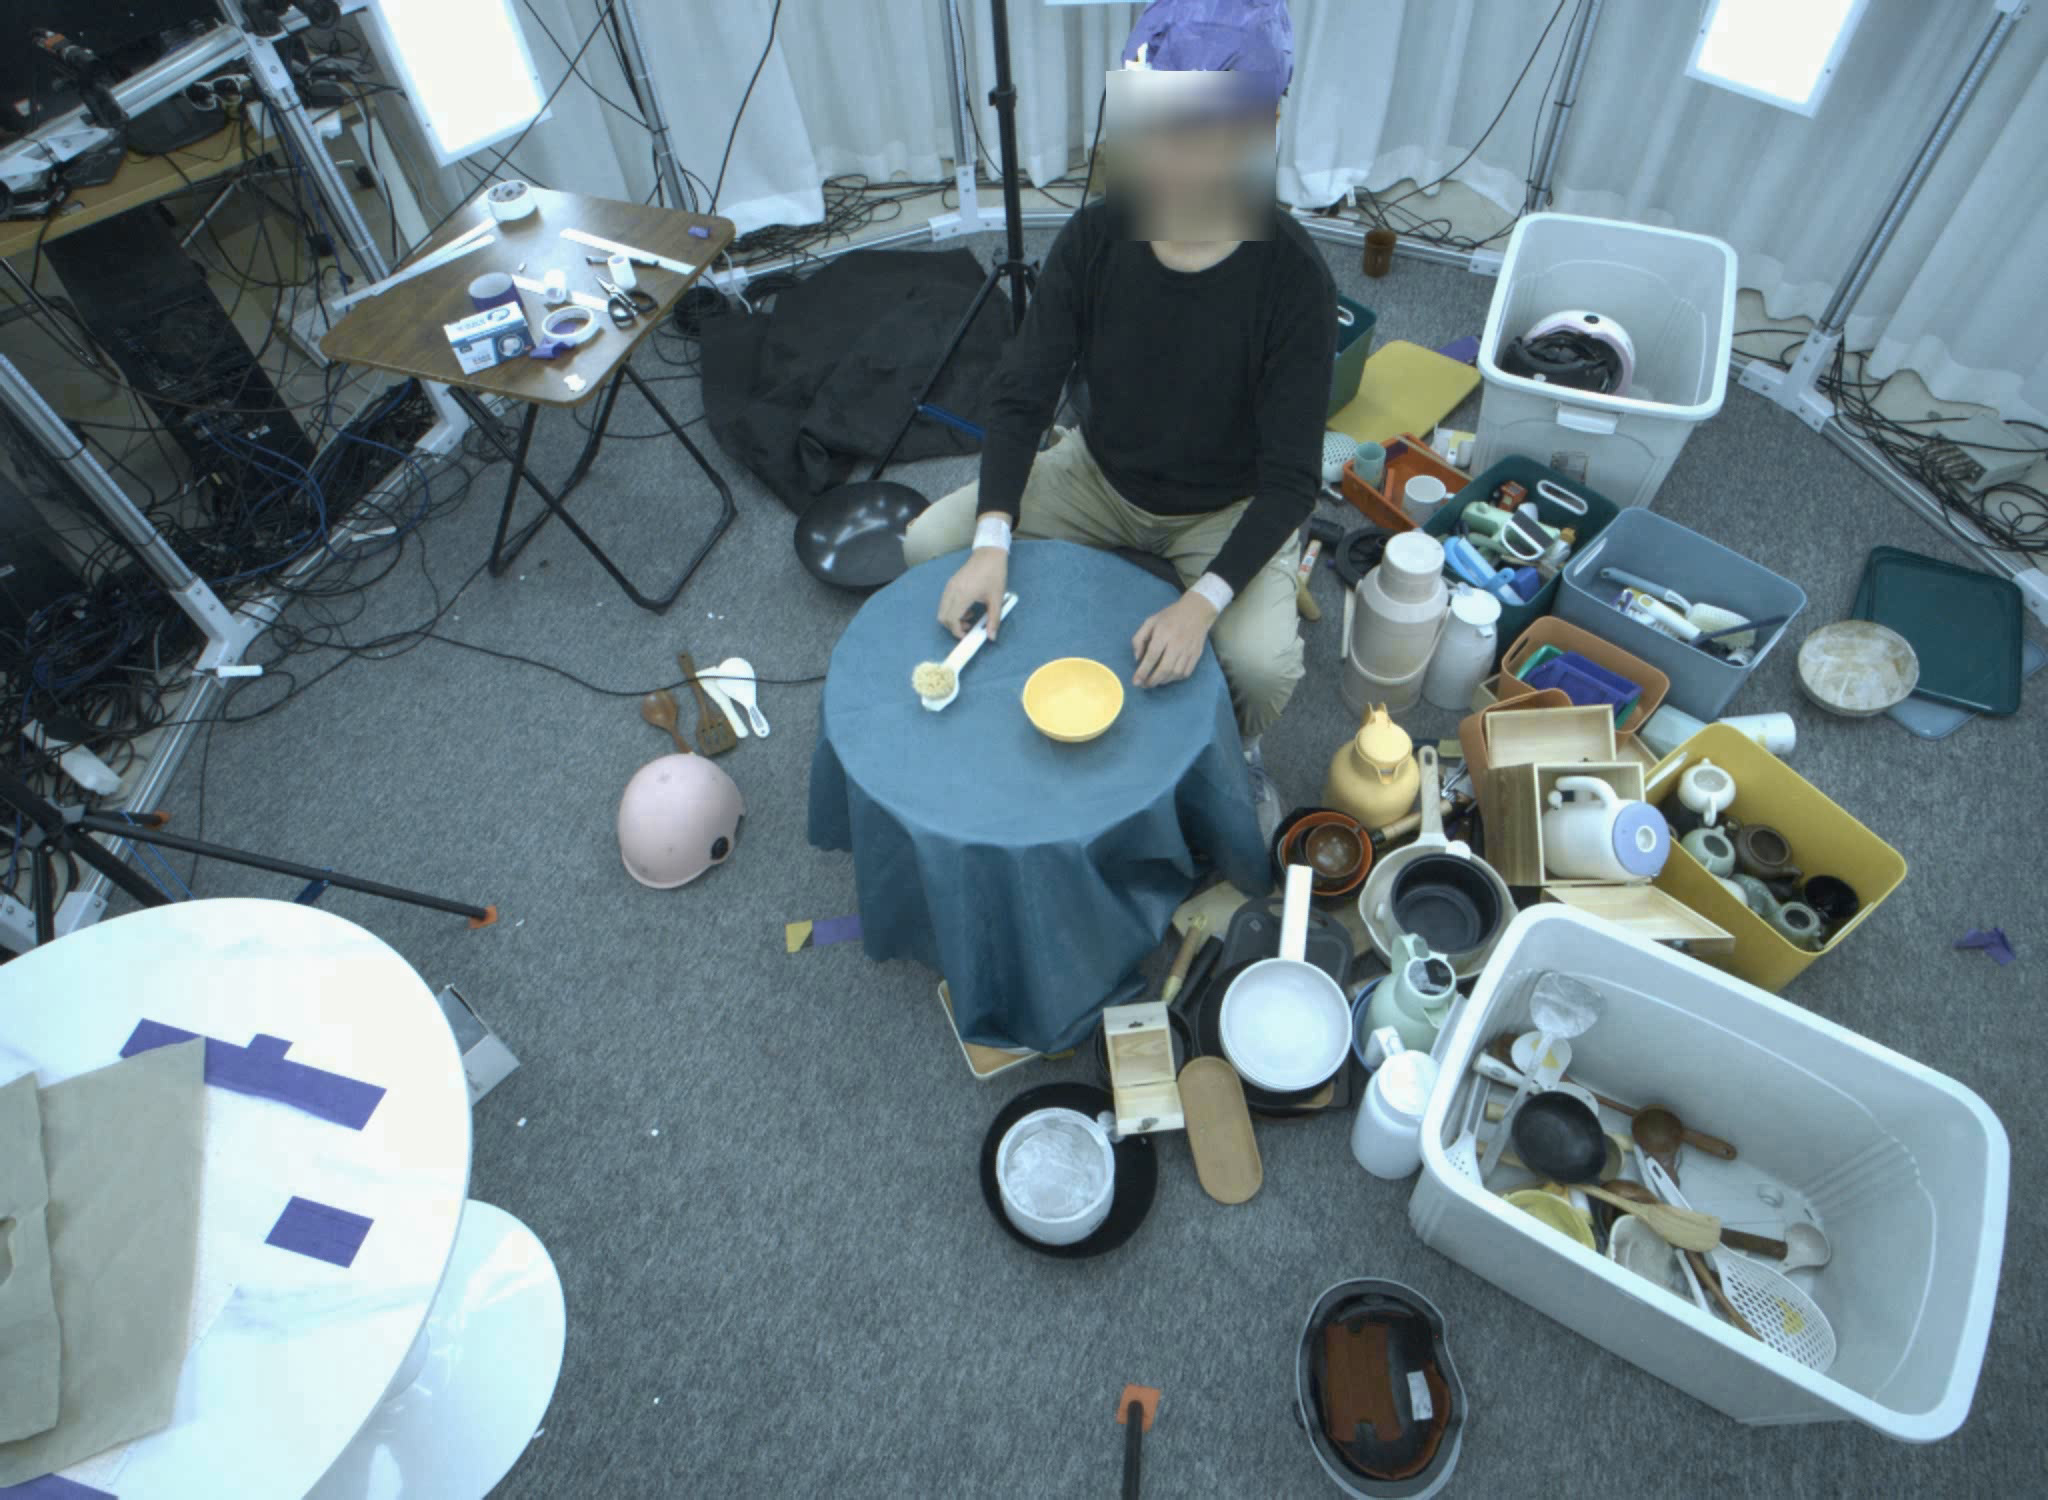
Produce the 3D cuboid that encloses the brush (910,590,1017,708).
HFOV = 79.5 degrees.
[{"bbox_3d":[-0.087,-0.172,1.880,0.068,0.056,0.267,26,59,15],"label":"brush"}]

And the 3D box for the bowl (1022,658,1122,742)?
[{"bbox_3d":[0.069,-0.062,1.795,0.145,0.060,0.144,1,54,0],"label":"bowl"}]
